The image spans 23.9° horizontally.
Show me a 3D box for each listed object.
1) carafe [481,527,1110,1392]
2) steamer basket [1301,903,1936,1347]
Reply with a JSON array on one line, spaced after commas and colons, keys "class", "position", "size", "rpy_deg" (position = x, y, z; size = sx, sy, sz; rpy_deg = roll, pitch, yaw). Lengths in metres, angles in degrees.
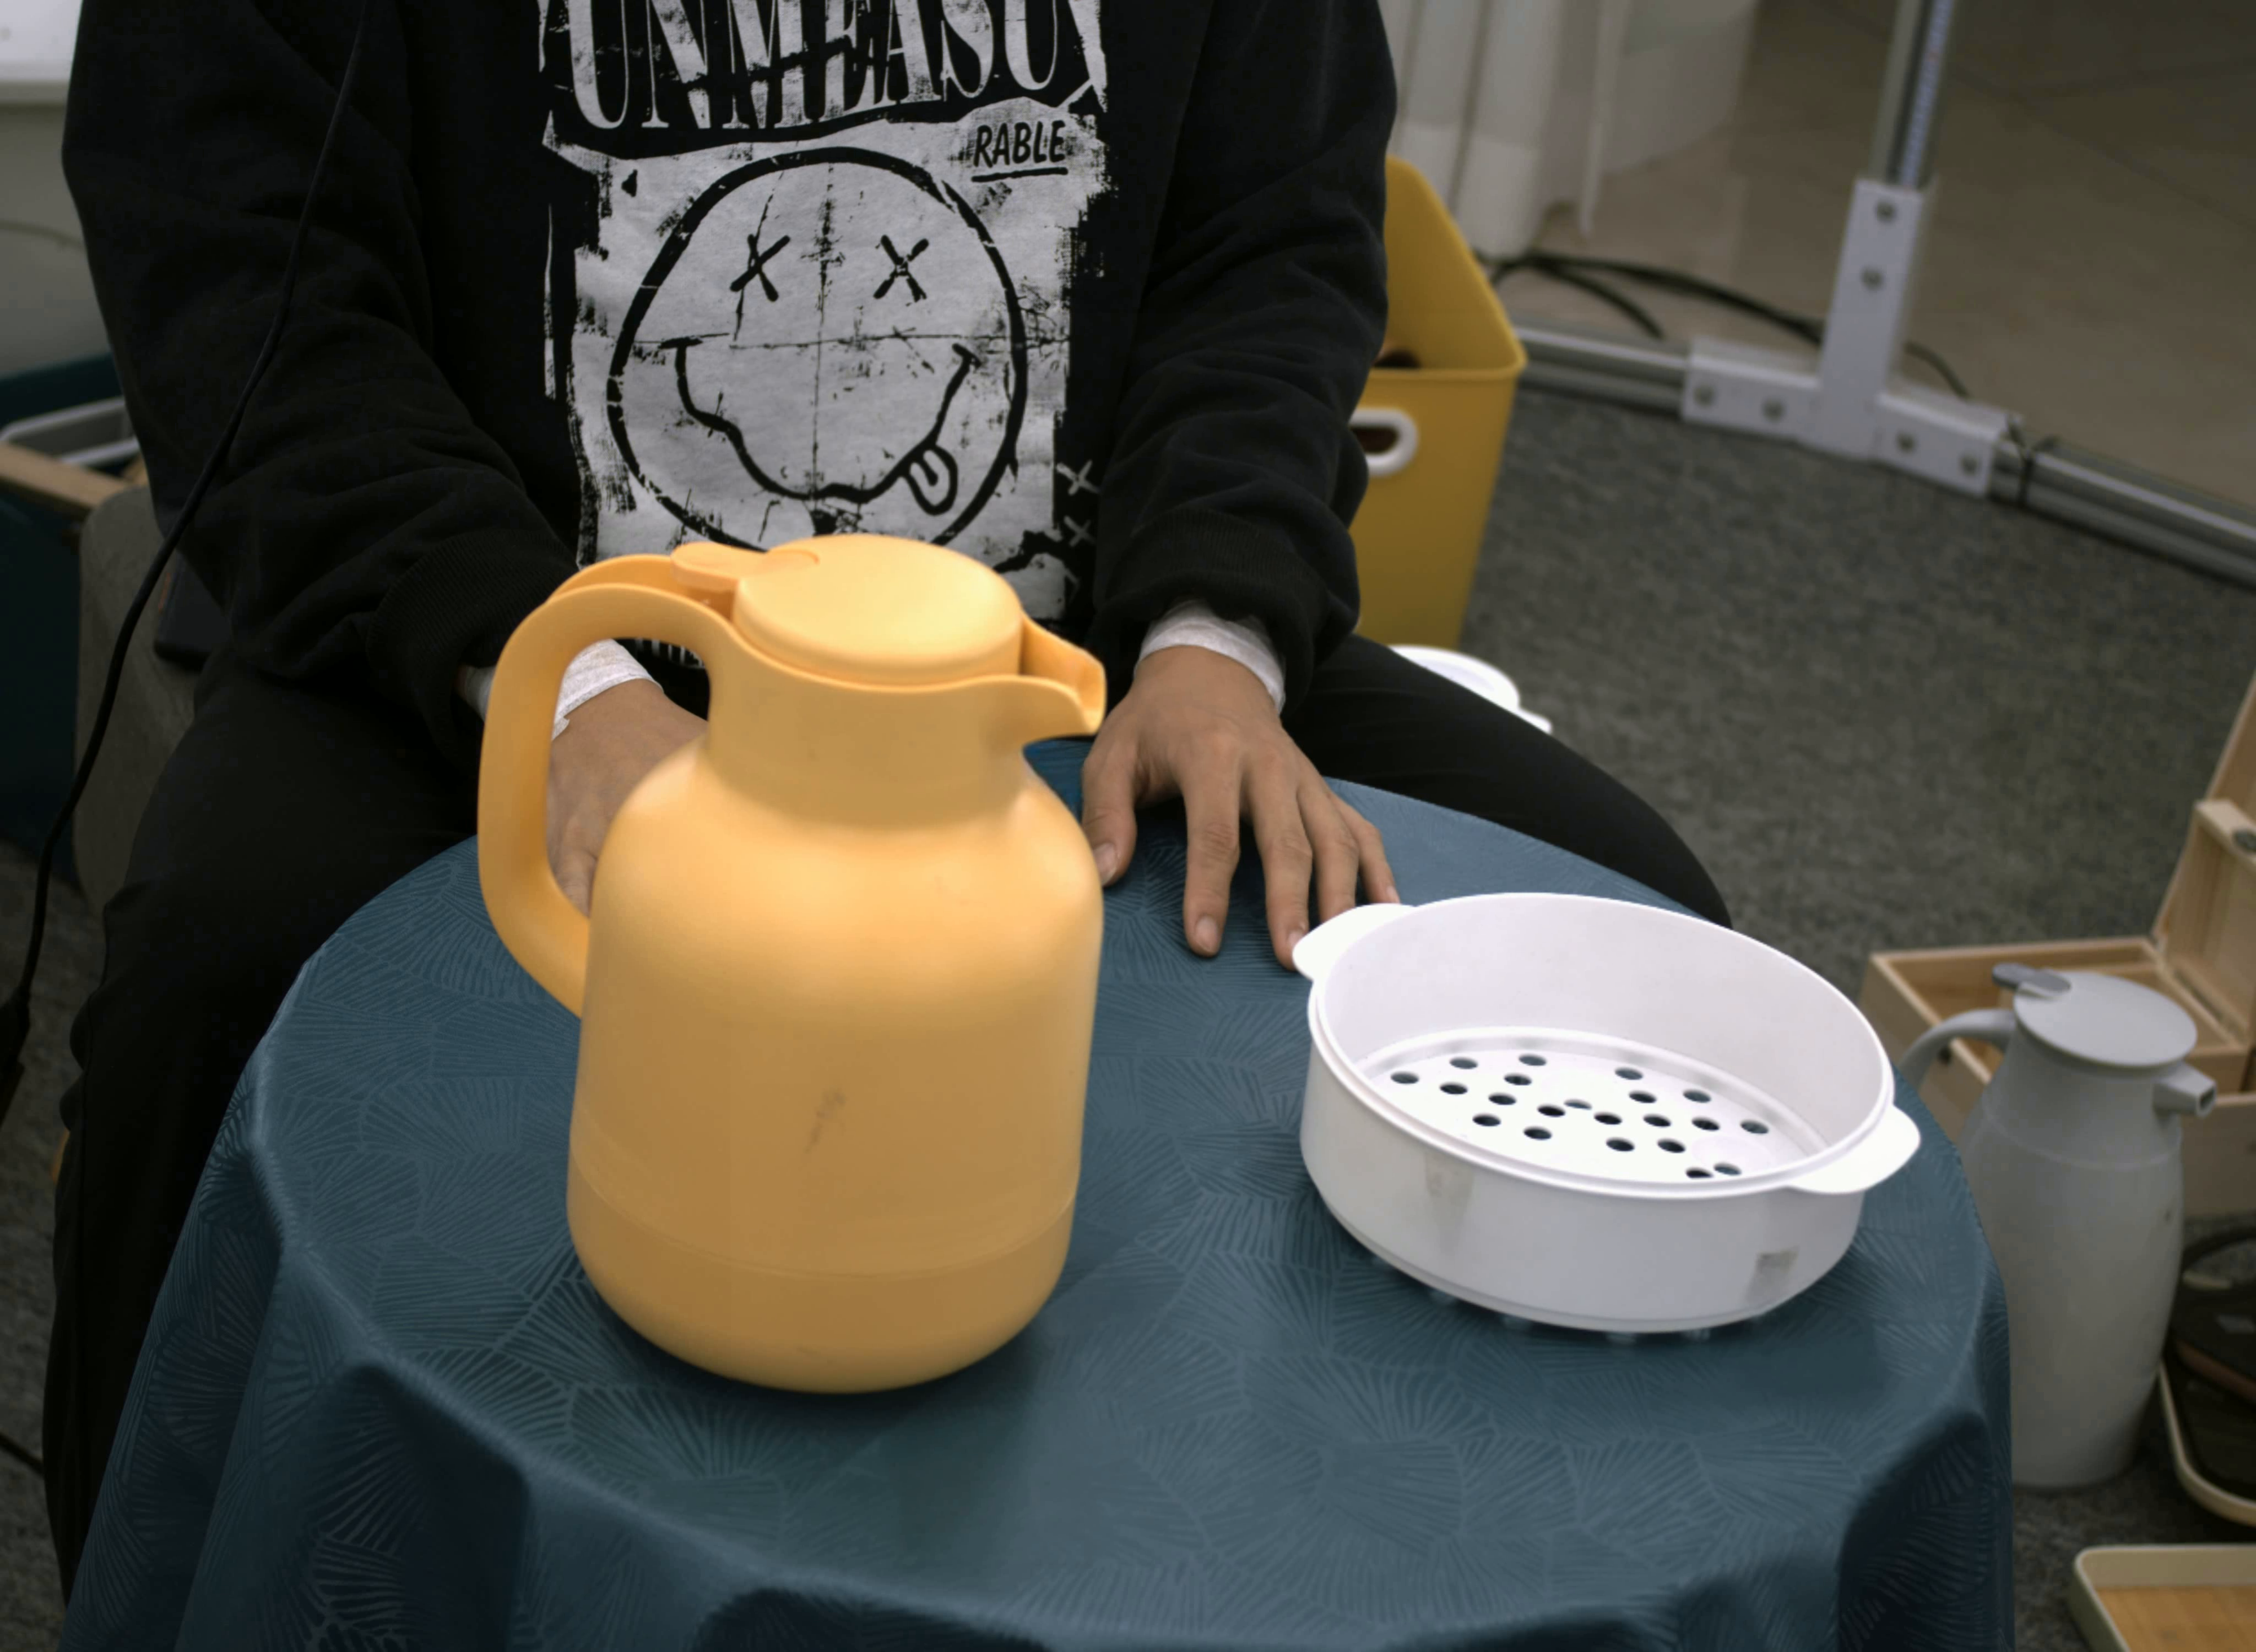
[{"class": "carafe", "position": [-0.108, 0.032, 1.674], "size": [0.203, 0.260, 0.163], "rpy_deg": [16, 25, 15]}, {"class": "steamer basket", "position": [0.161, 0.102, 1.815], "size": [0.232, 0.069, 0.201], "rpy_deg": [23, 32, 28]}]
